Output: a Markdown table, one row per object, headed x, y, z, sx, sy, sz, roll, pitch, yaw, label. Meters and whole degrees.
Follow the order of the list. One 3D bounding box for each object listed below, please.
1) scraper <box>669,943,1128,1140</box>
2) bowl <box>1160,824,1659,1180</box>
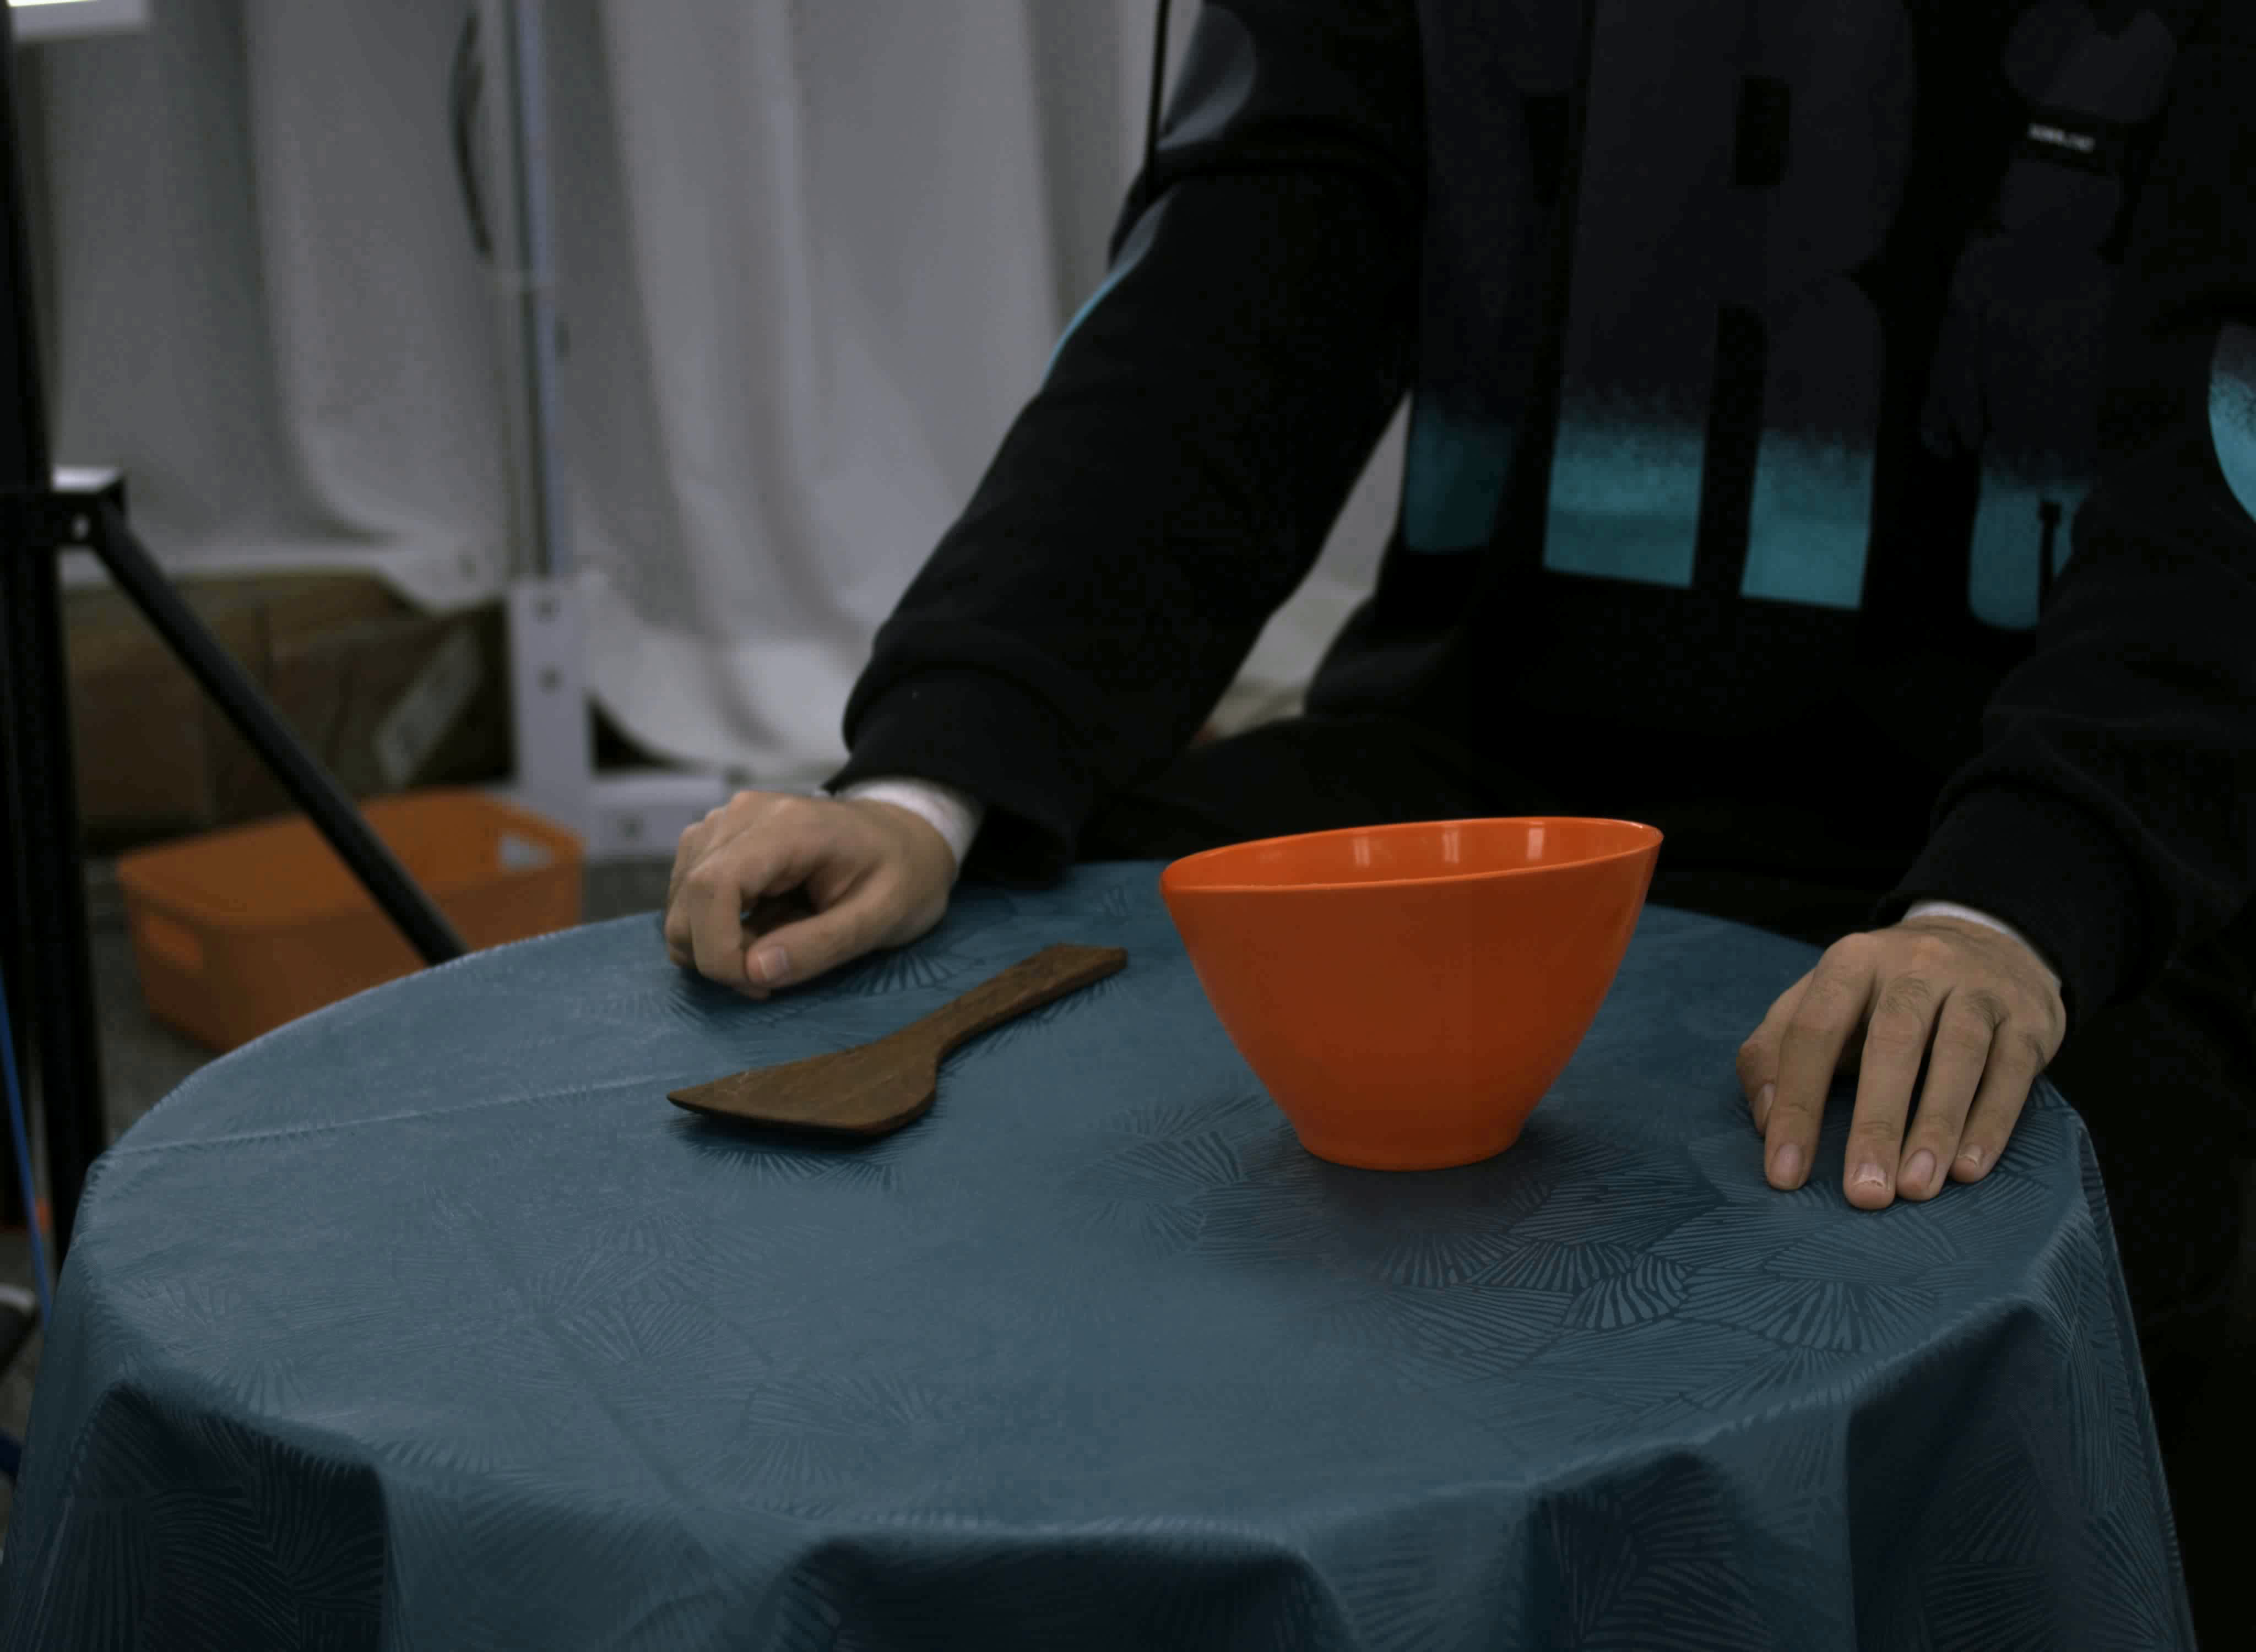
| x | y | z | sx | sy | sz | roll | pitch | yaw | label |
| --- | --- | --- | --- | --- | --- | --- | --- | --- | --- |
| -0.061 | 0.067 | 1.699 | 0.077 | 0.011 | 0.207 | 8 | 18 | 30 | scraper |
| 0.084 | 0.049 | 1.571 | 0.147 | 0.104 | 0.149 | -3 | 14 | -1 | bowl |
